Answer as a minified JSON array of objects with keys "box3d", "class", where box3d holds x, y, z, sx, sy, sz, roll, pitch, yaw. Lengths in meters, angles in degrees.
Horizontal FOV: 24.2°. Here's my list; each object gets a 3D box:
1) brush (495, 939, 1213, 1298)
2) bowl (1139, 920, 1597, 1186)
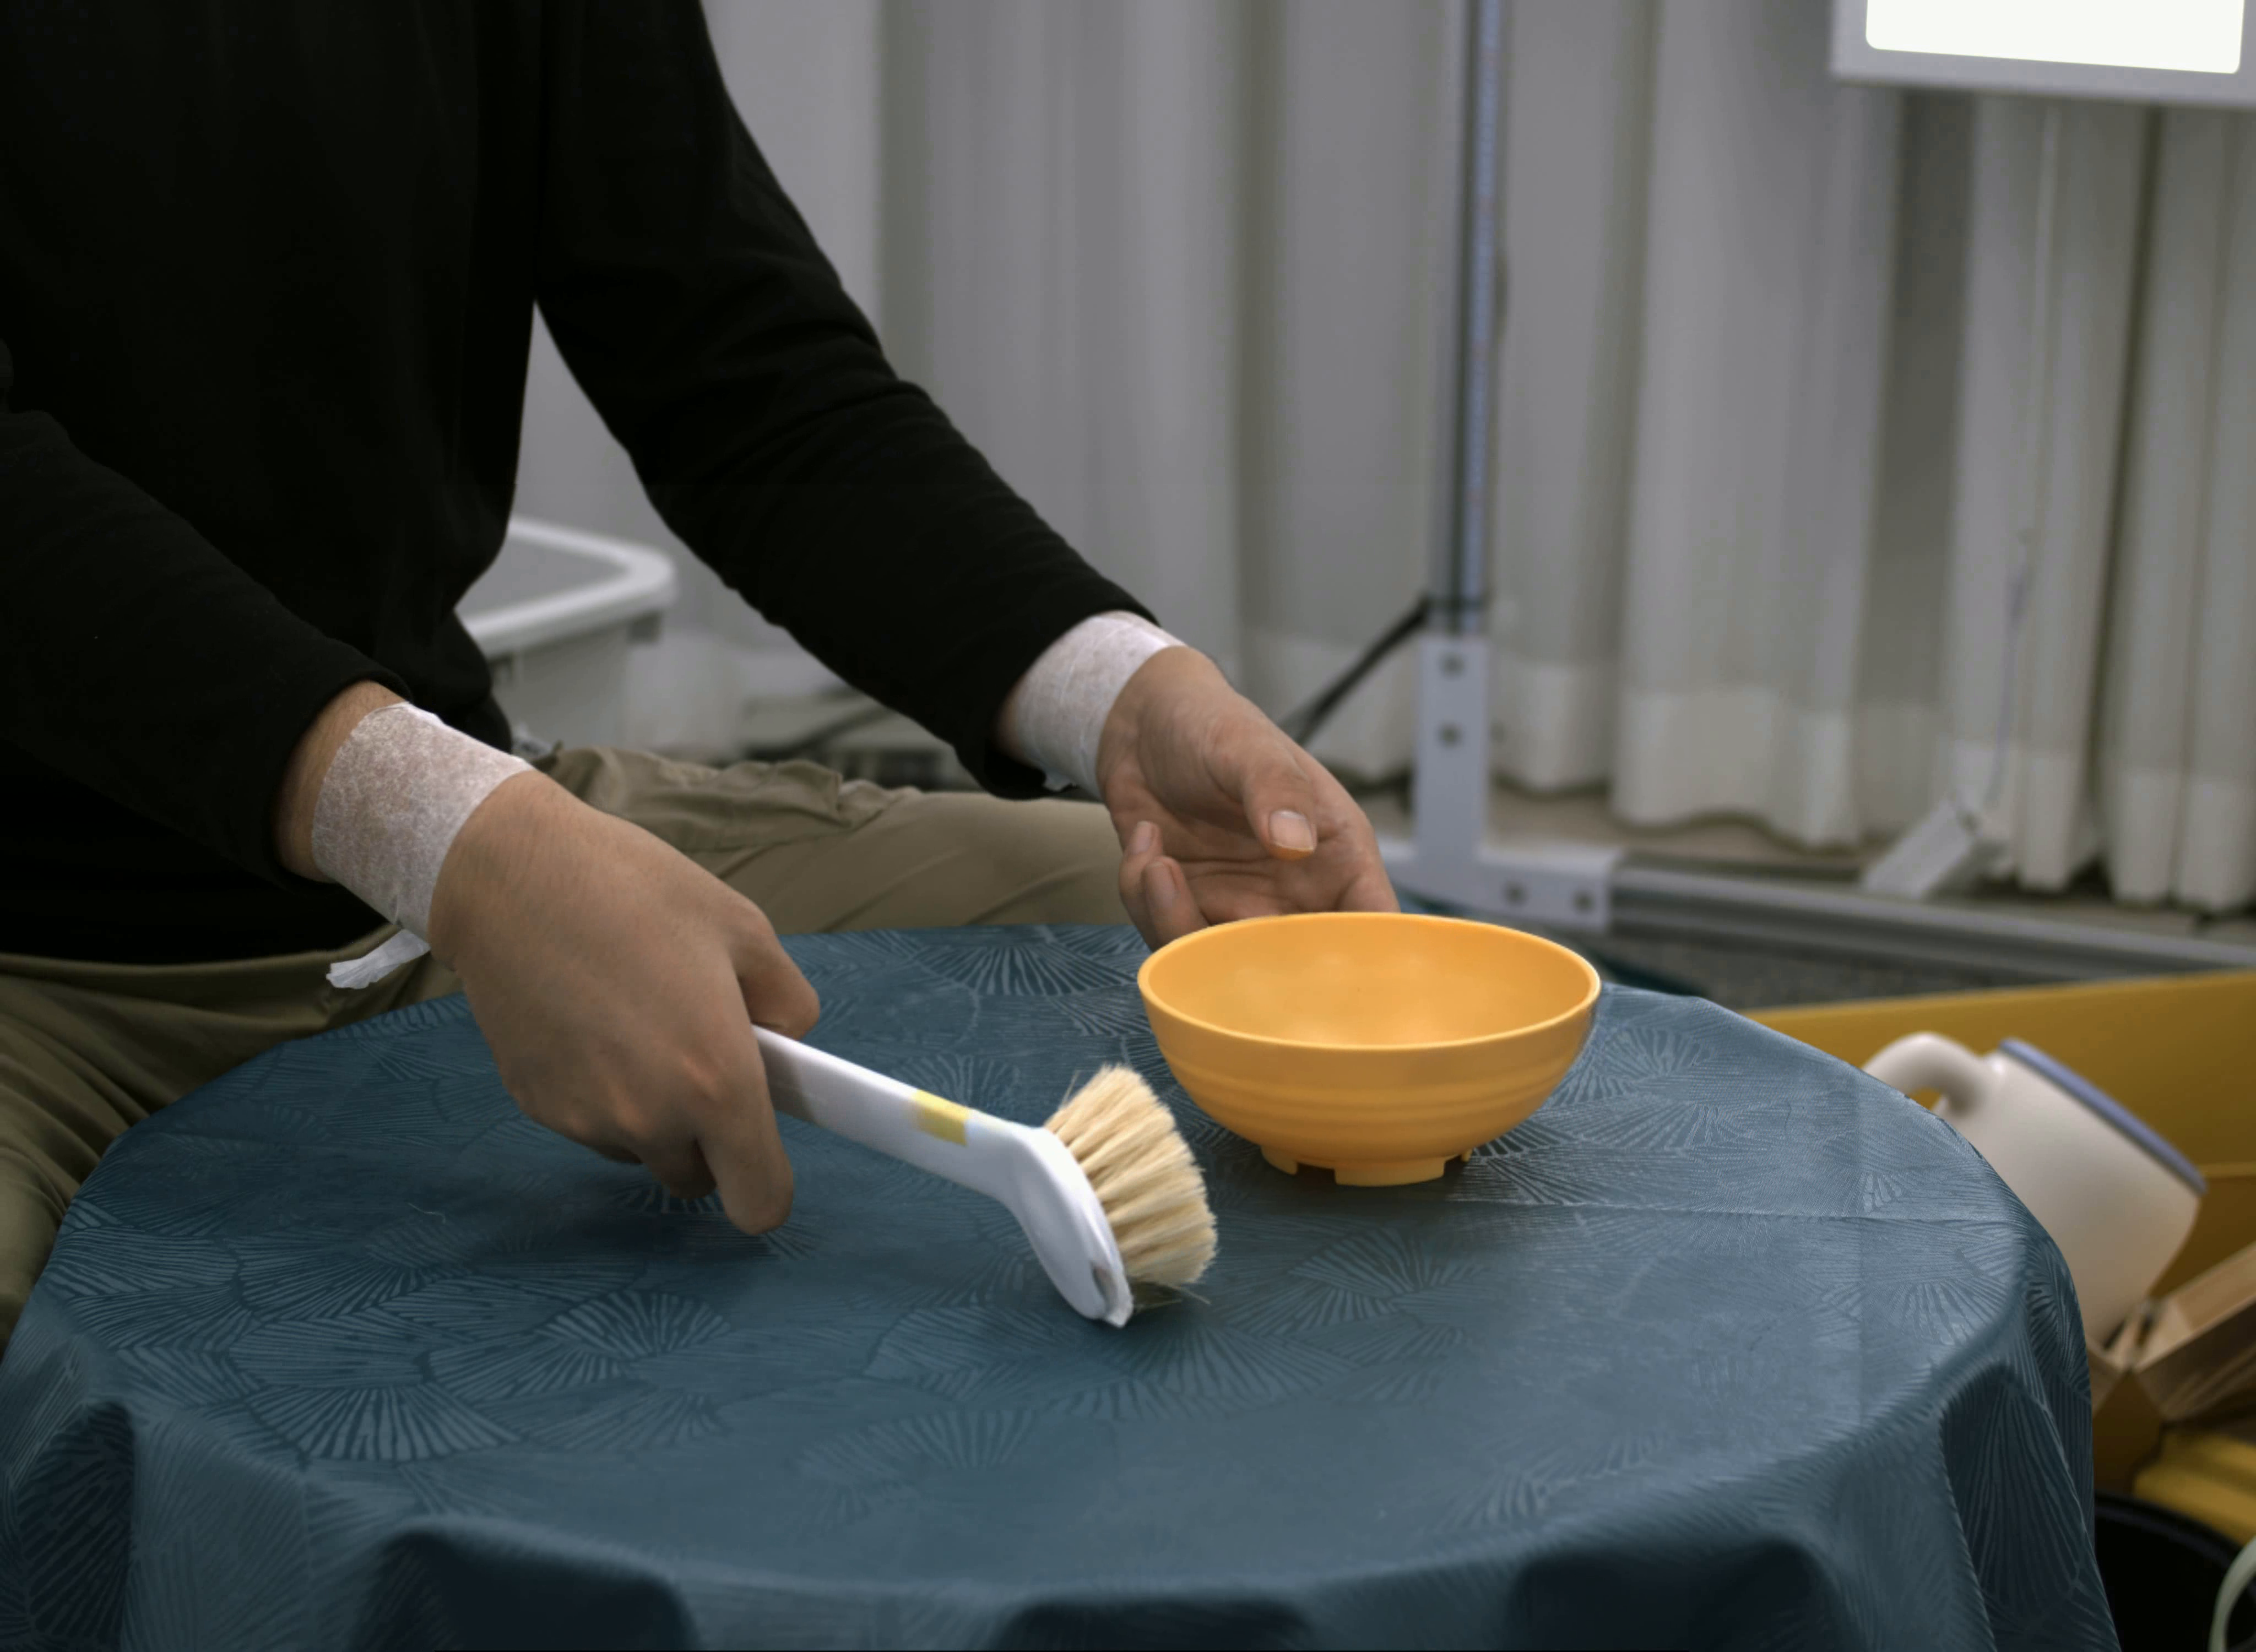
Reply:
[{"box3d":[-0.080,0.072,1.567,0.263,0.069,0.056,22,42,36],"class":"brush"},{"box3d":[0.074,0.075,1.649,0.145,0.060,0.144,1,14,0],"class":"bowl"}]
